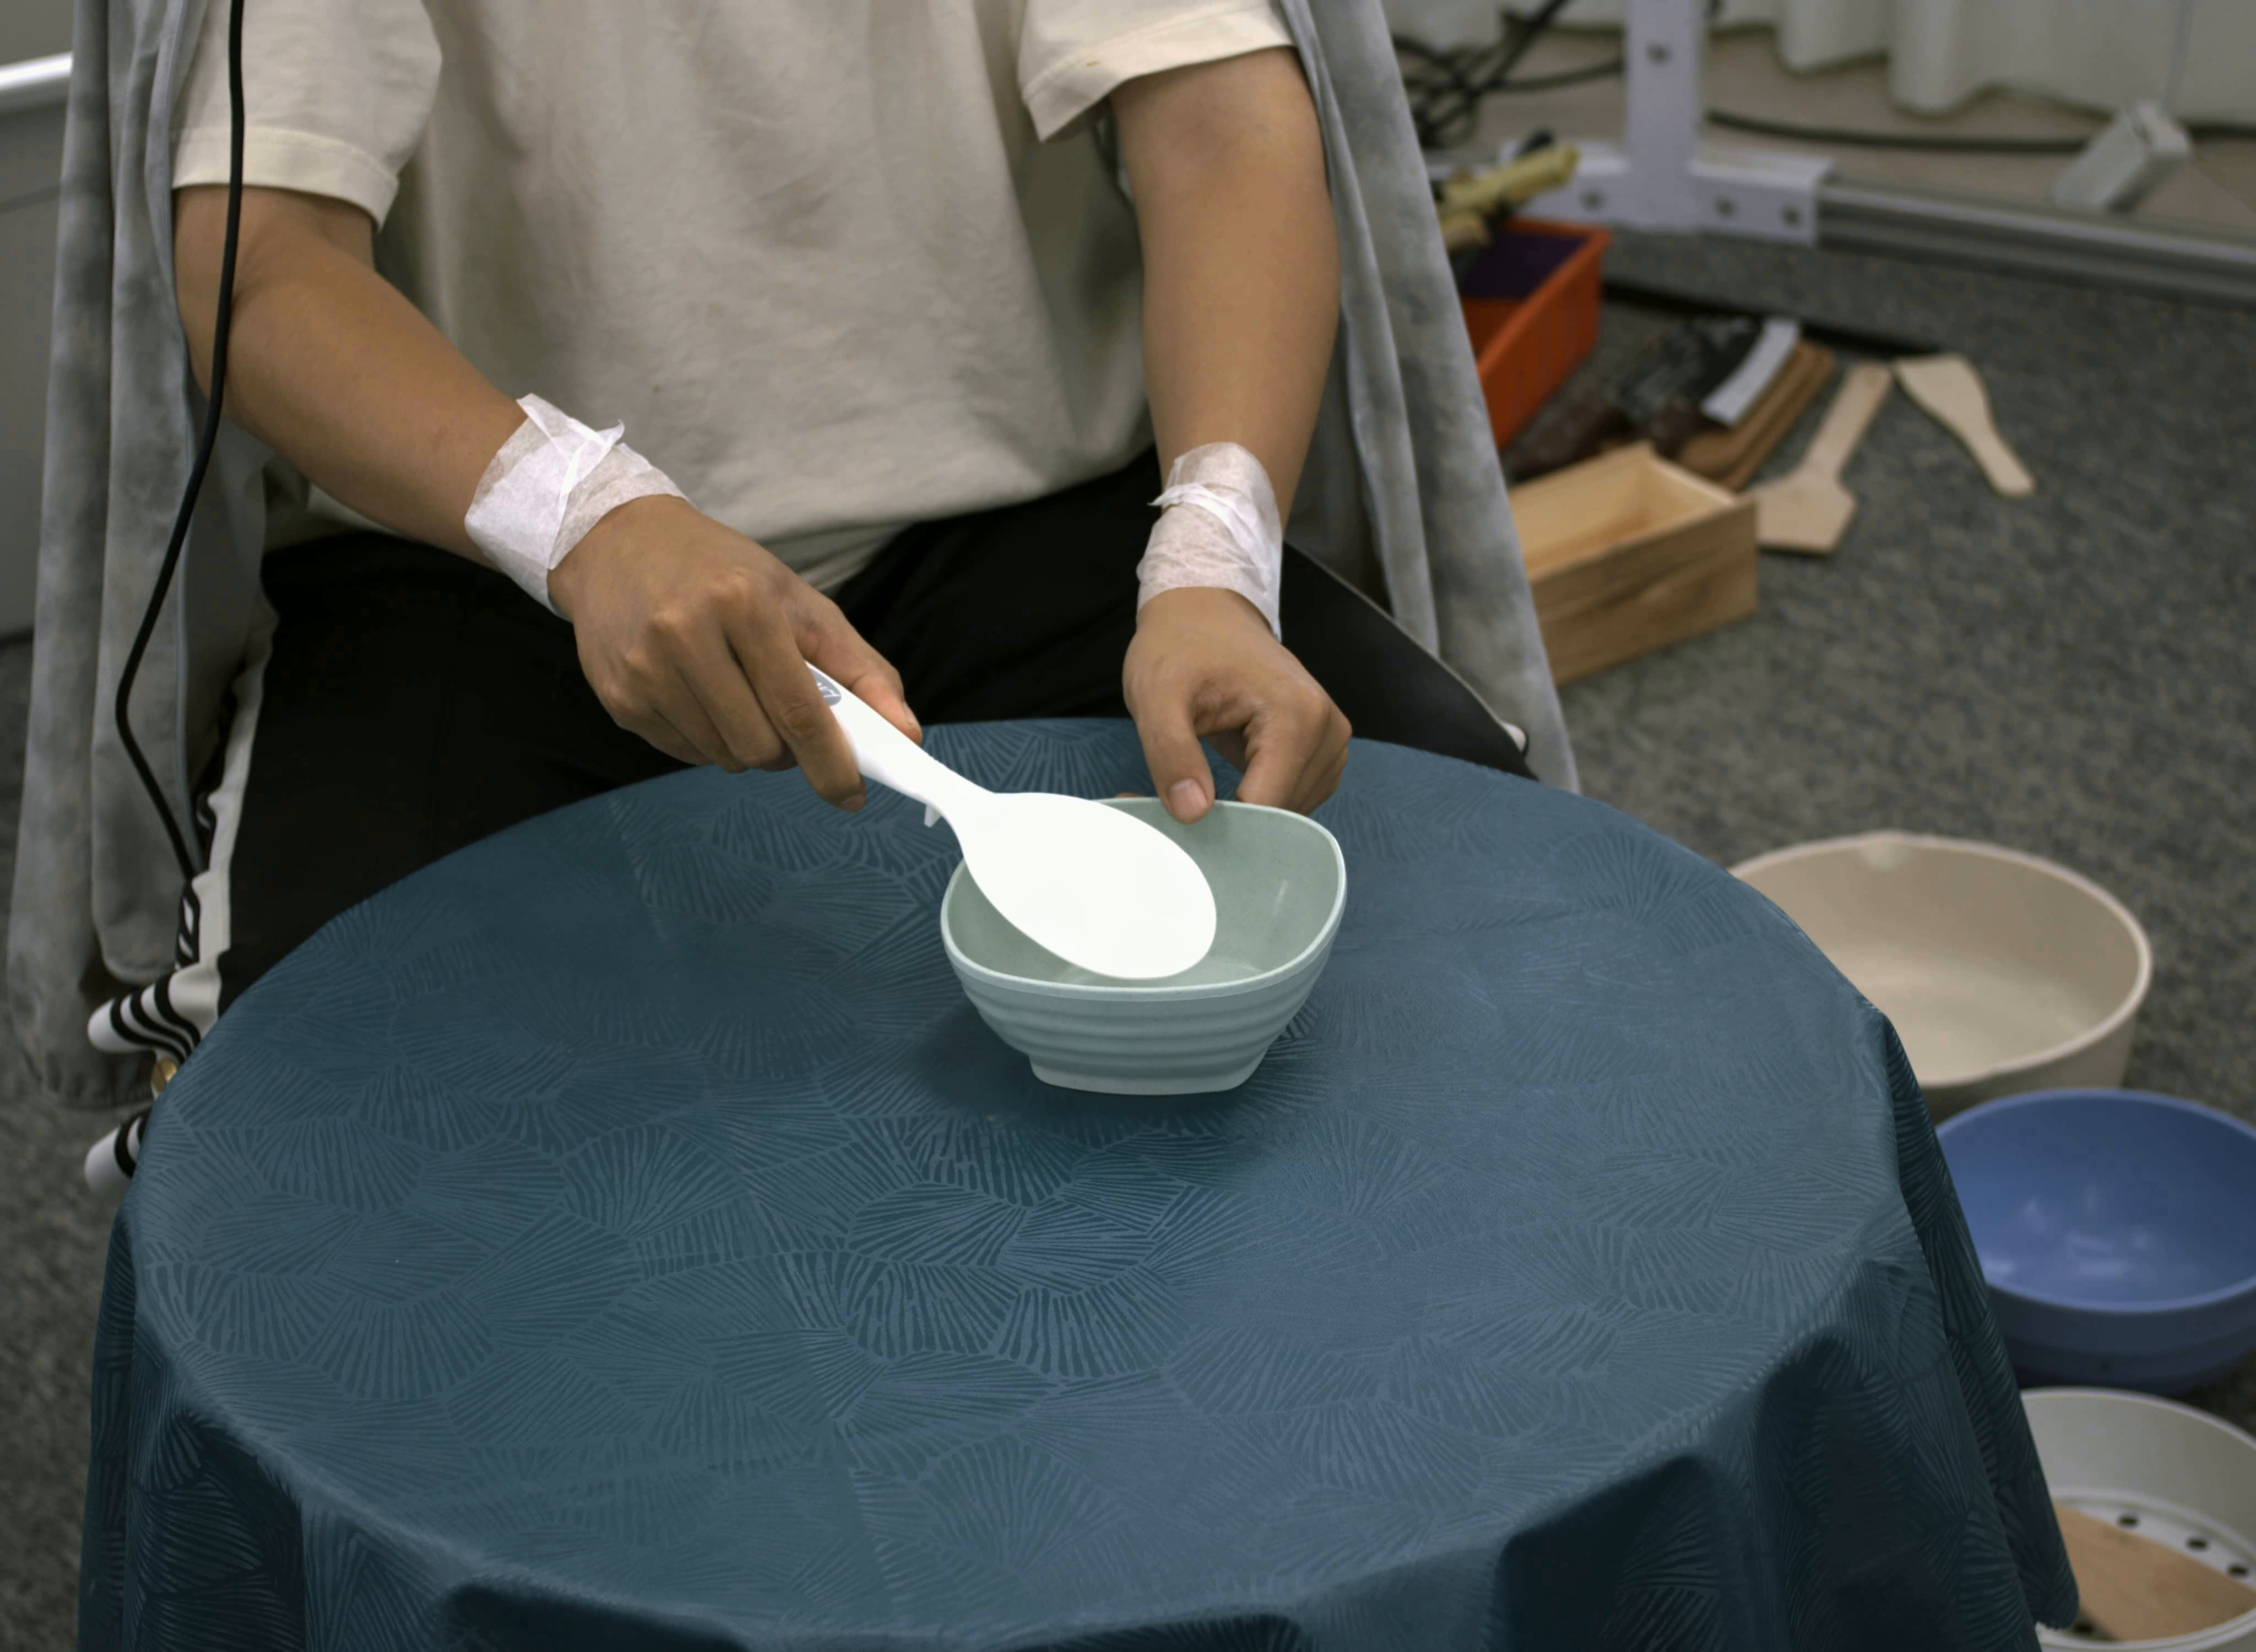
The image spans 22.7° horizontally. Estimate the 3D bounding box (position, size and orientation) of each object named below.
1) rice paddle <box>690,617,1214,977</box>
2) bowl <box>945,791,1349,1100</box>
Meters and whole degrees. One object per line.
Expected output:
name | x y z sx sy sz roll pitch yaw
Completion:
rice paddle | -0.059 -0.010 1.936 0.205 0.029 0.070 31 51 14
bowl | 0.008 0.047 1.941 0.150 0.058 0.154 -3 29 2
